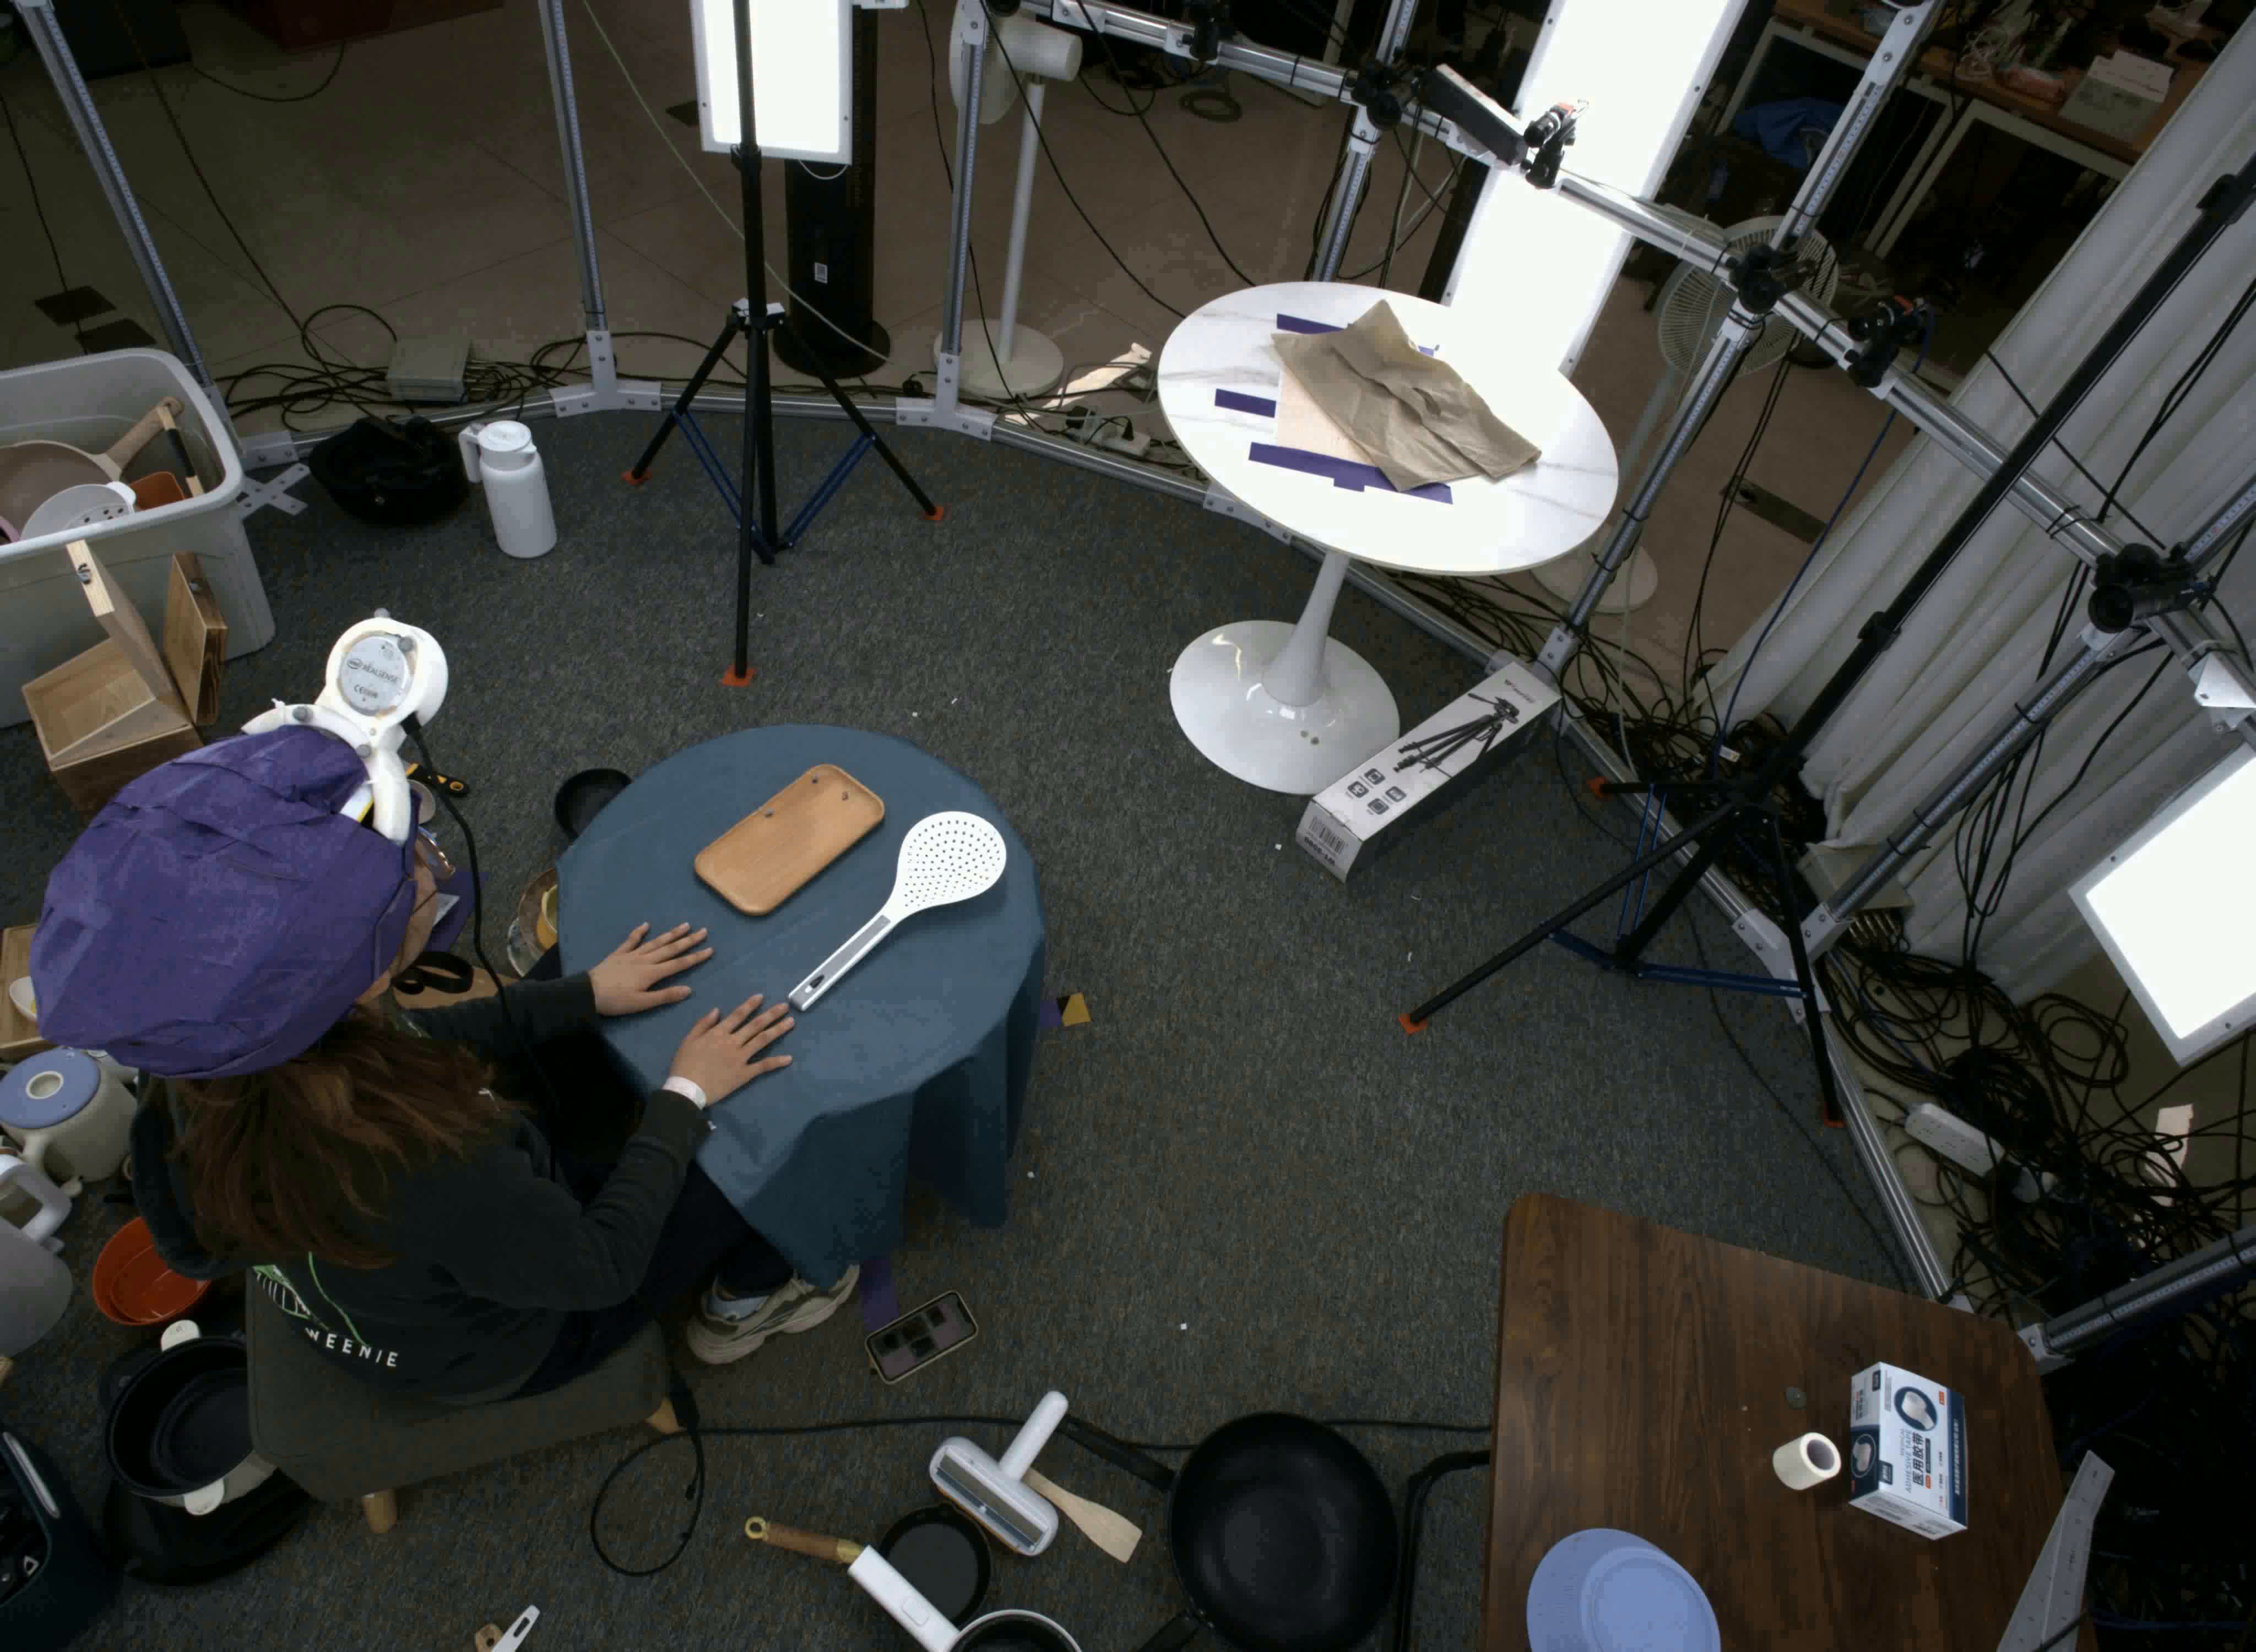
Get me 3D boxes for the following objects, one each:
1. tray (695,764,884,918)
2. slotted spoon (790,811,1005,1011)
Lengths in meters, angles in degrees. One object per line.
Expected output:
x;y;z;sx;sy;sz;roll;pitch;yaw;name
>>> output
-0.441;0.016;1.702;0.128;0.023;0.250;35;54;15;tray
-0.295;0.106;1.654;0.133;0.047;0.349;35;54;16;slotted spoon
